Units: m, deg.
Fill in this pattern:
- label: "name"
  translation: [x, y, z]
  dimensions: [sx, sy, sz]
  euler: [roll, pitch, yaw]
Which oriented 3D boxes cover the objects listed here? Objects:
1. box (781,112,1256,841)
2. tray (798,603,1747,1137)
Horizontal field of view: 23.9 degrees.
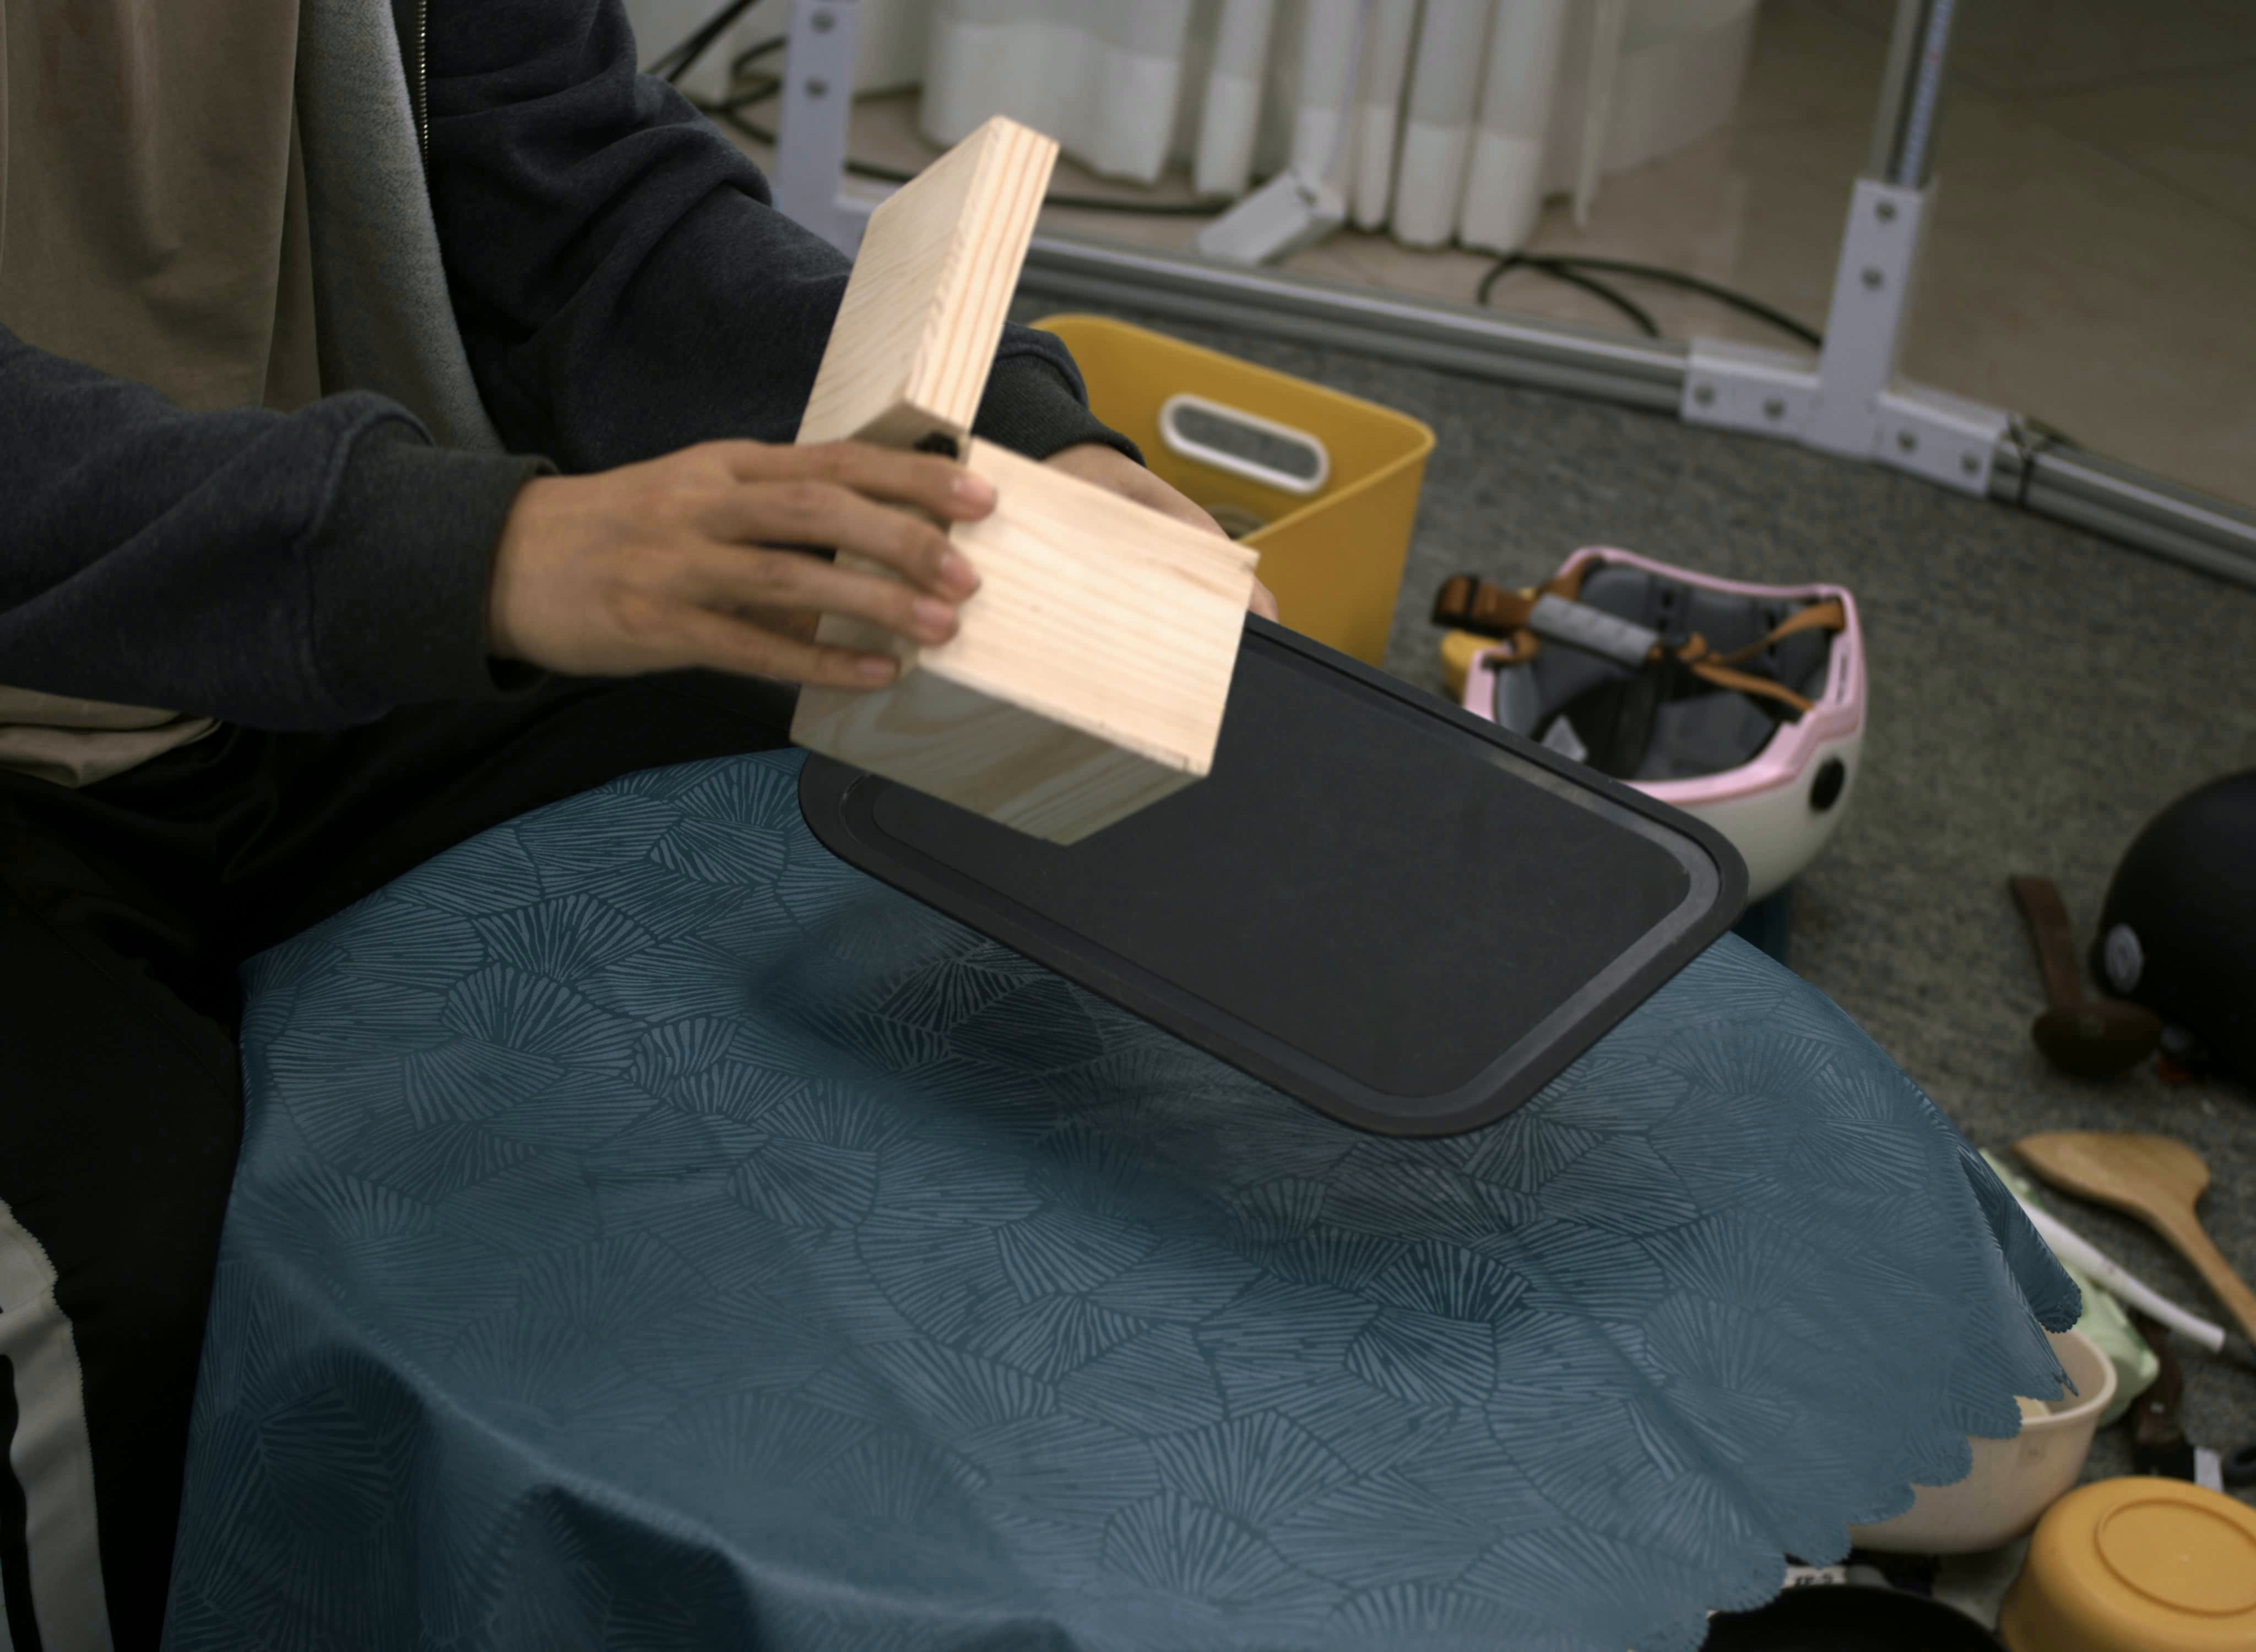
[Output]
- label: "box"
  translation: [-0.030, -0.108, 1.667]
  dimensions: [0.133, 0.185, 0.103]
  euler: [19, -18, -20]
- label: "tray"
  translation: [0.042, 0.001, 1.869]
  dimensions: [0.327, 0.010, 0.211]
  euler: [28, 45, 31]
